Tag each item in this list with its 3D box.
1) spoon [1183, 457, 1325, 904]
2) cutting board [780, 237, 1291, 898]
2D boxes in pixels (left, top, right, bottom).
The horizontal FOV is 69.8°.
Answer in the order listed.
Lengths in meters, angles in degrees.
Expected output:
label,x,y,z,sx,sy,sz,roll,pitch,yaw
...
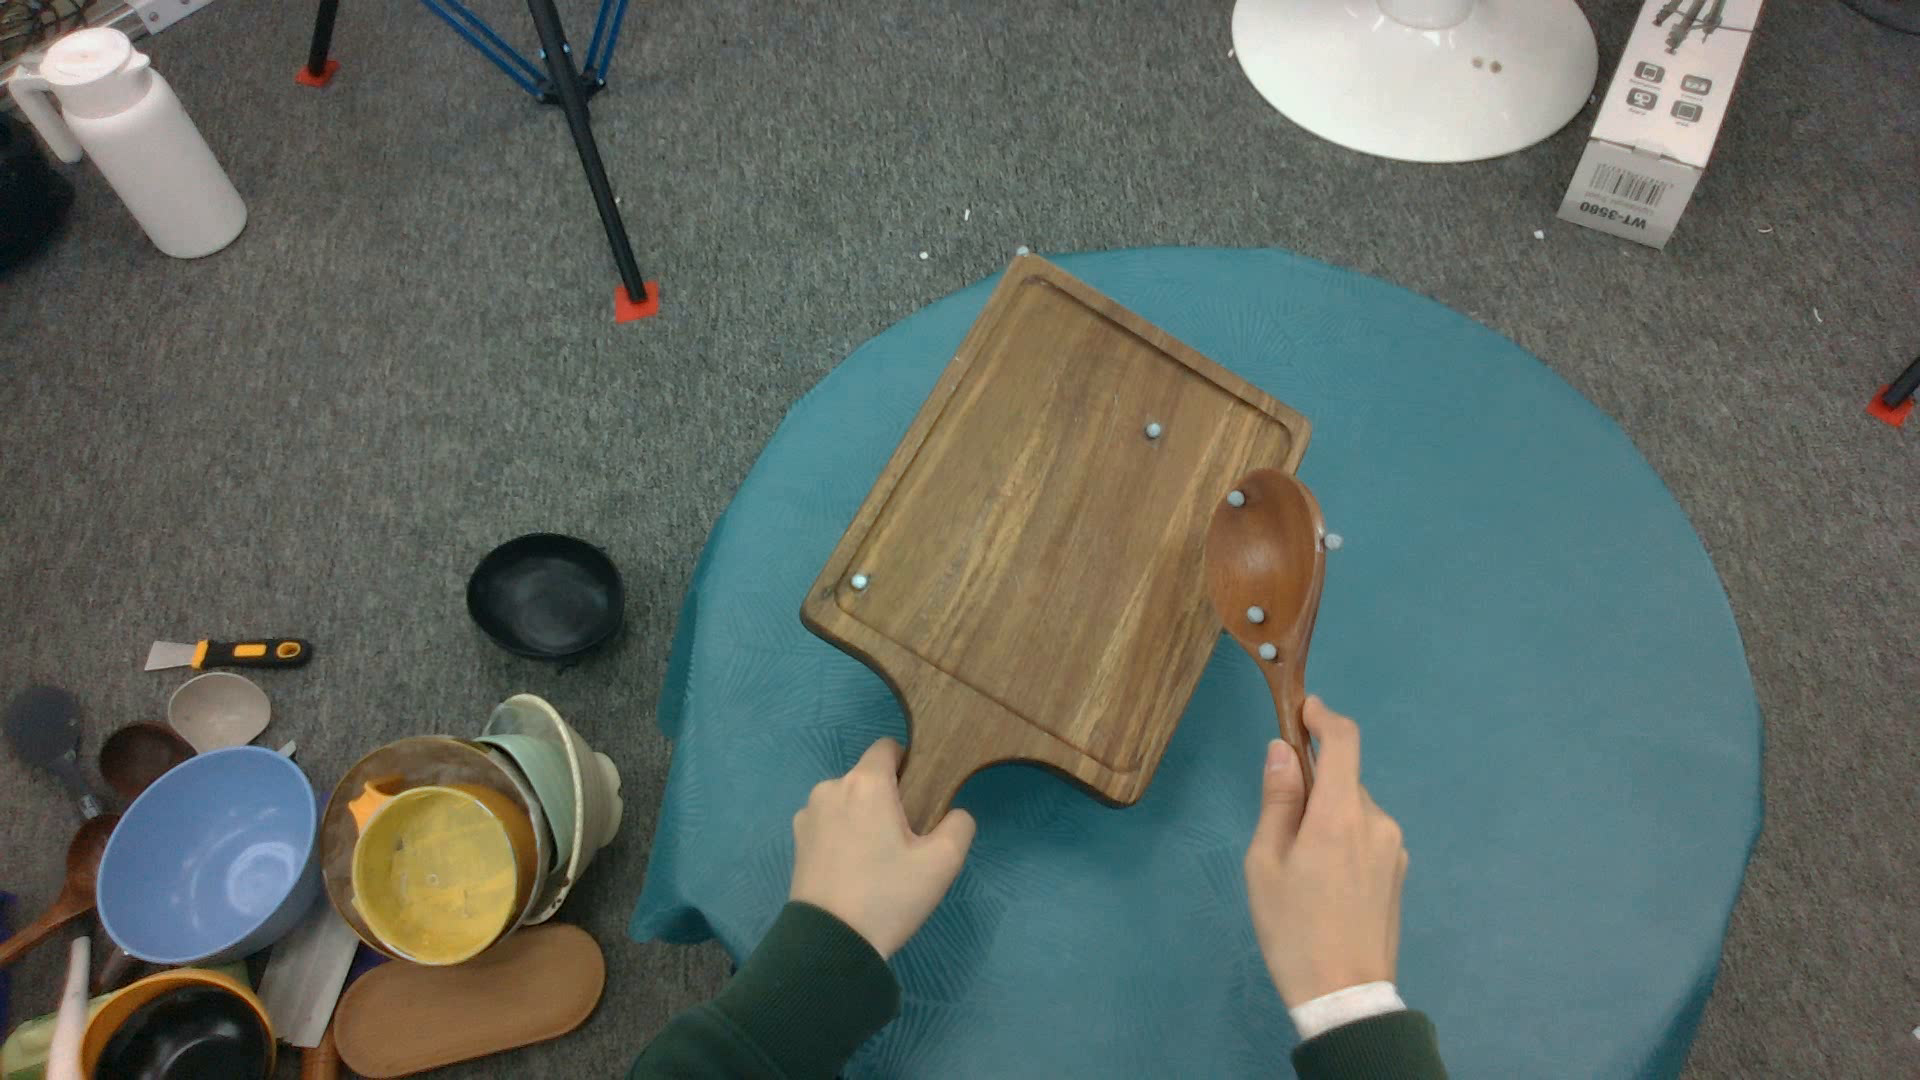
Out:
label,x,y,z,sx,sy,sz,roll,pitch,yaw
spoon,0.144,0.060,0.644,0.017,0.075,0.216,18,57,-36
cutting board,0.027,0.021,0.710,0.201,0.023,0.353,31,68,-4
